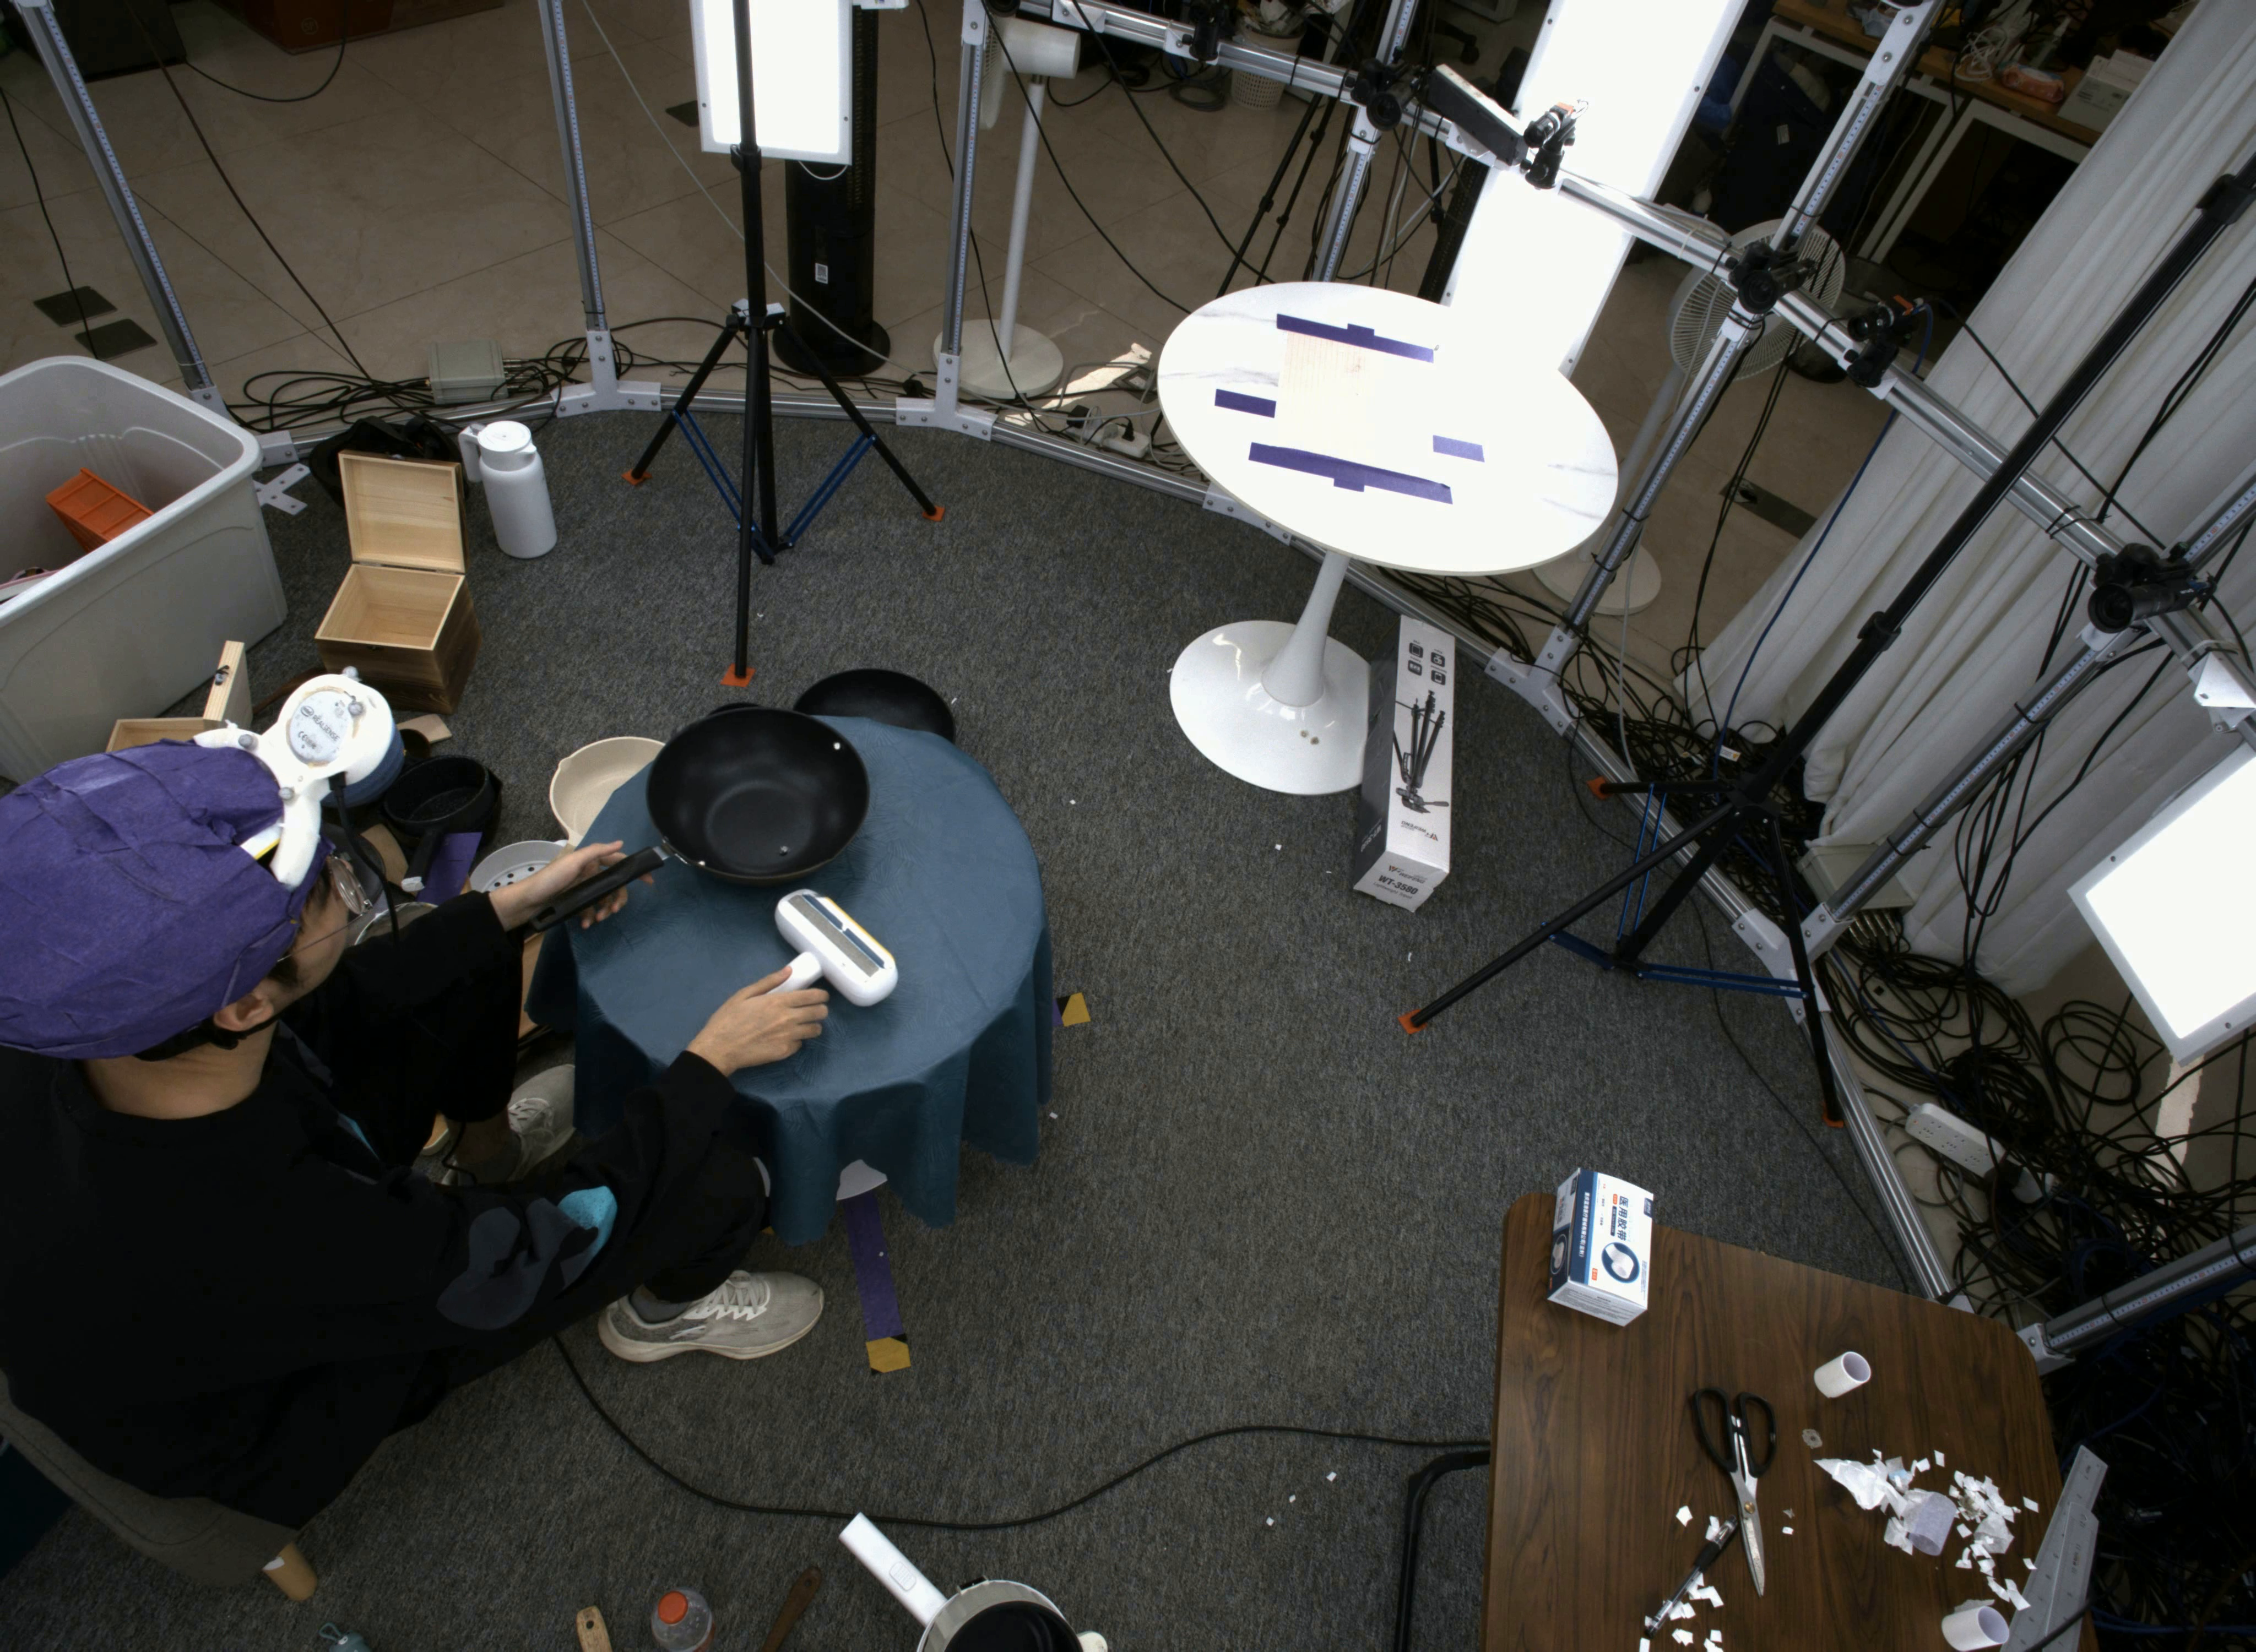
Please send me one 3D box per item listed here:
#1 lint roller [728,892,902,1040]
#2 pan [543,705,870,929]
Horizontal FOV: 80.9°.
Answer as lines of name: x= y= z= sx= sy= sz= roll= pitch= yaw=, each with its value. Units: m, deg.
lint roller: x=-0.396 y=0.181 z=1.559 sx=0.193 sy=0.076 sz=0.187 roll=-32 pitch=62 yaw=-30
pan: x=-0.538 y=0.020 z=1.631 sx=0.282 sy=0.088 sz=0.464 roll=42 pitch=55 yaw=17
